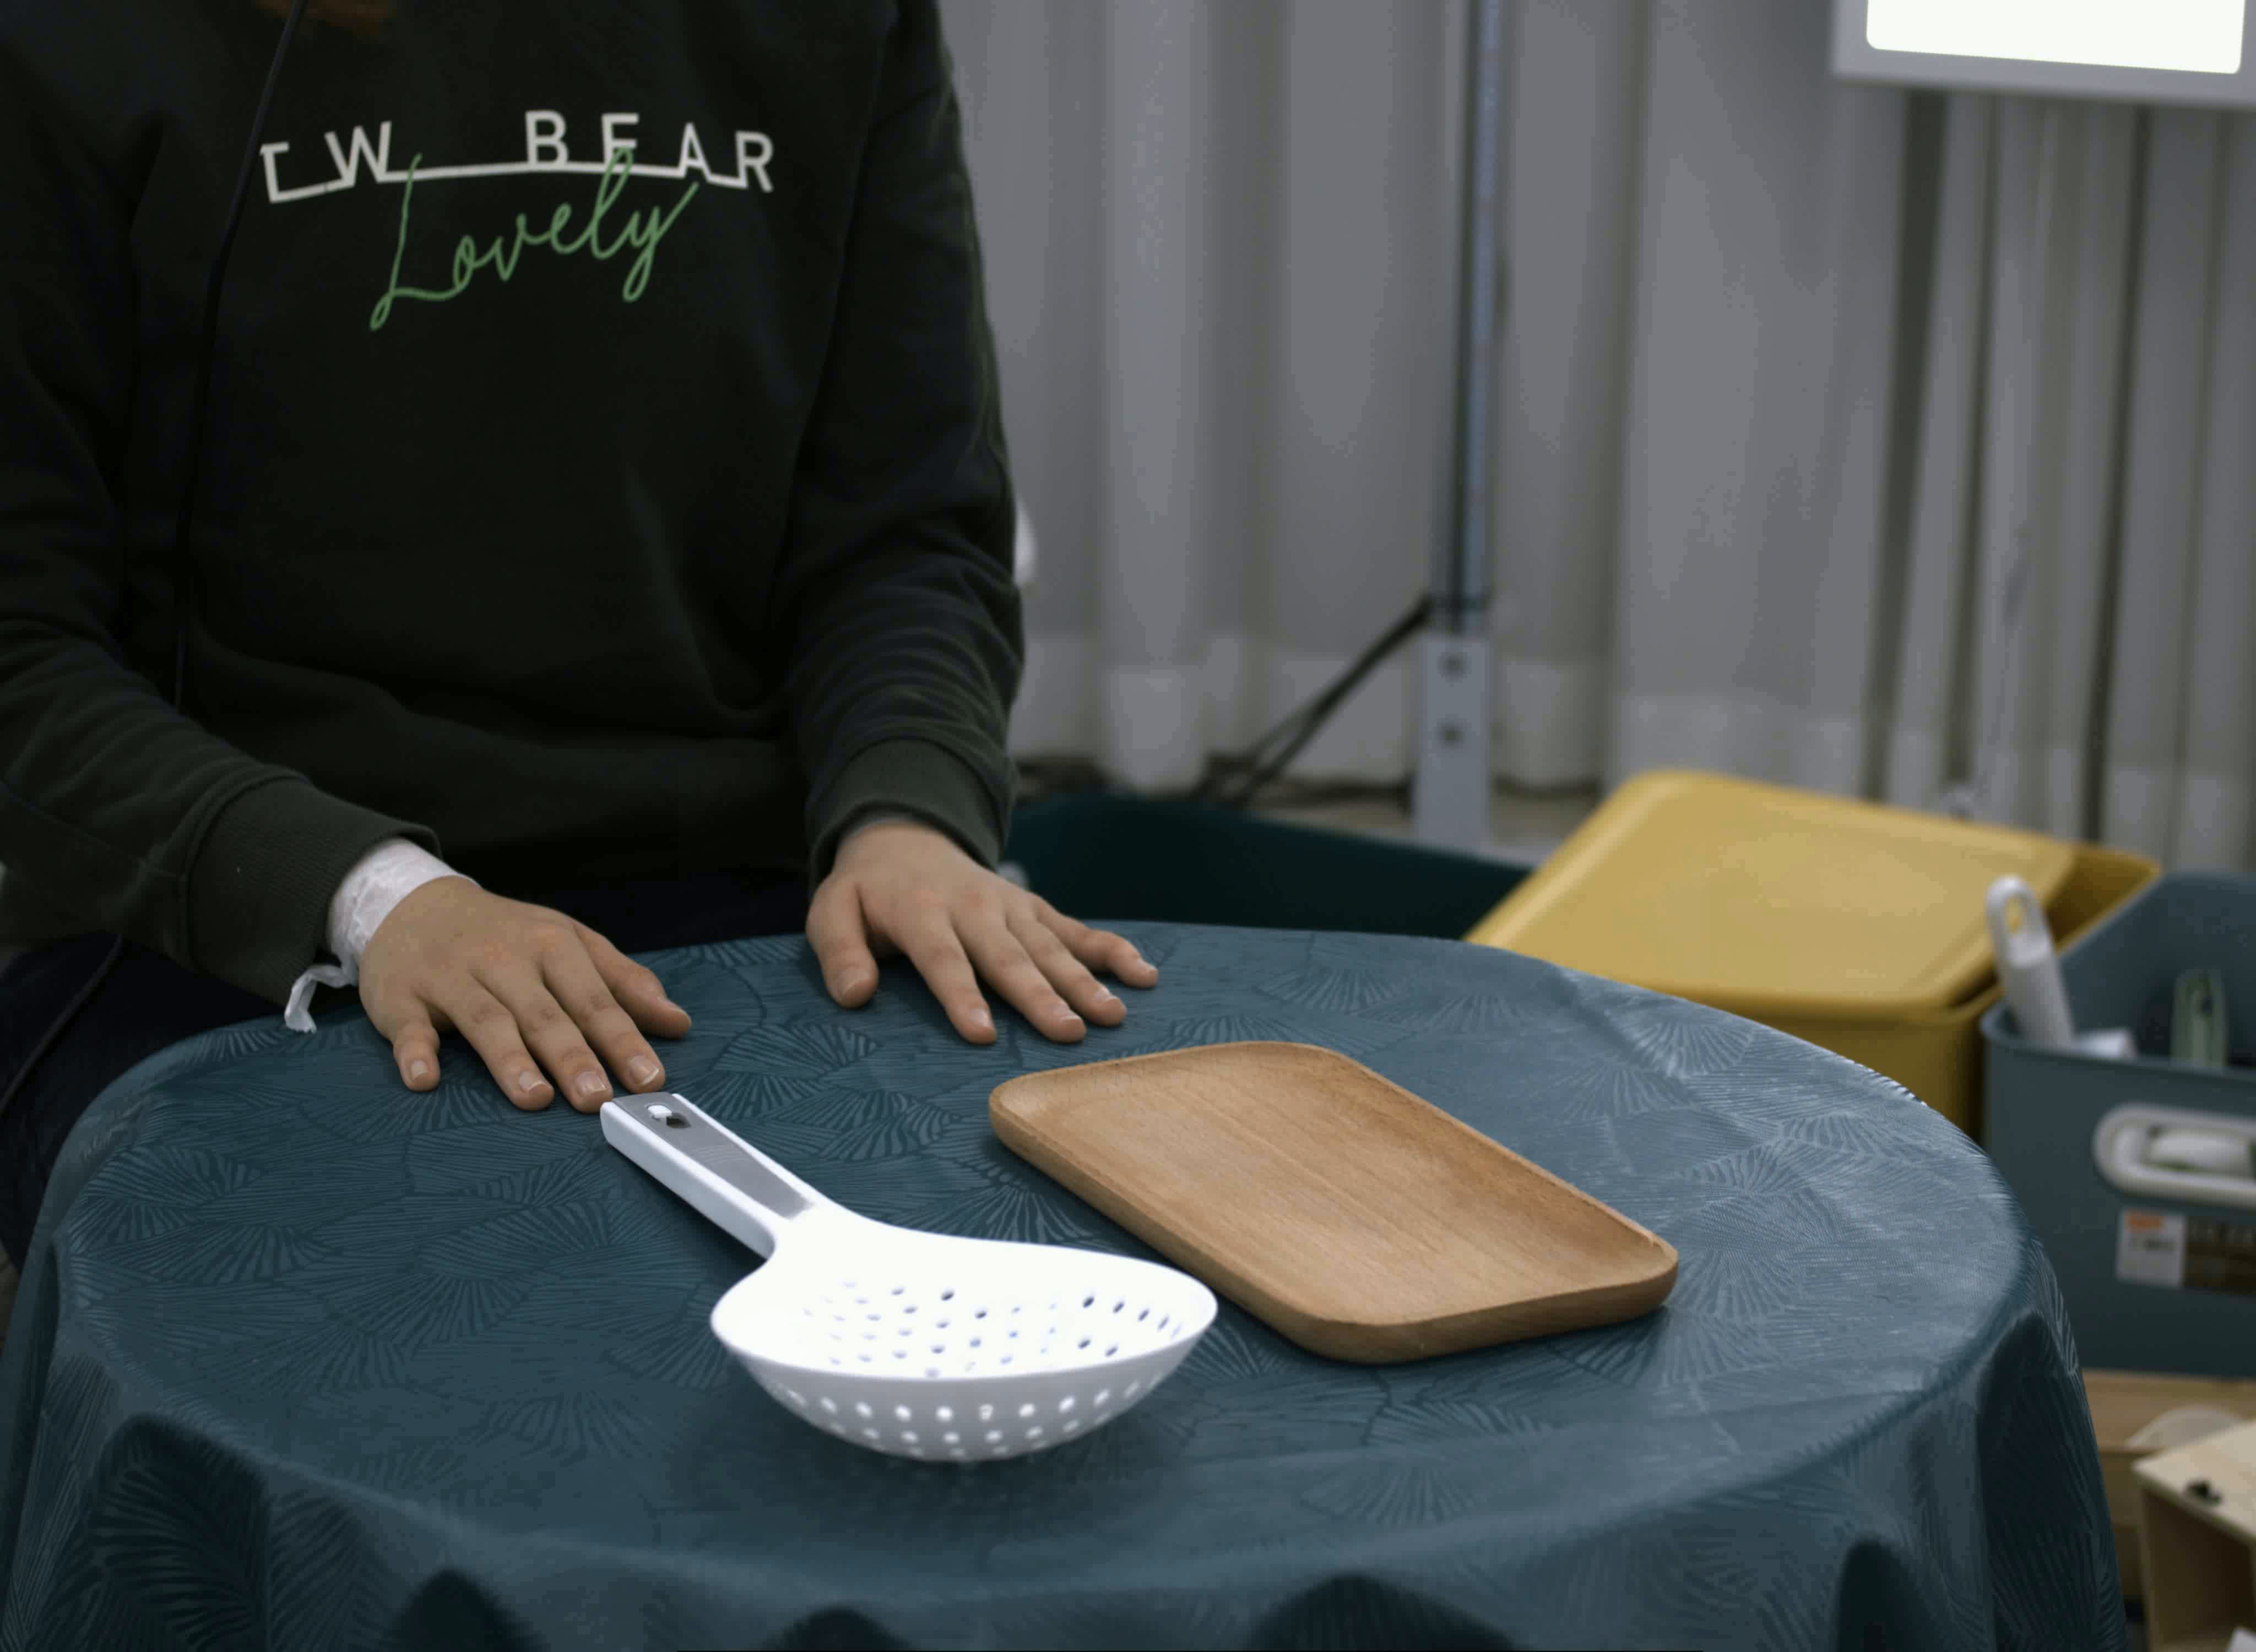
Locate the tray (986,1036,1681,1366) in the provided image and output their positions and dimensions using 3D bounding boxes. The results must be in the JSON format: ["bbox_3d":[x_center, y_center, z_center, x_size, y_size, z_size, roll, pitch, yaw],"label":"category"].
[{"bbox_3d":[0.058,0.111,1.603,0.131,0.023,0.247,-5,16,-26],"label":"tray"}]

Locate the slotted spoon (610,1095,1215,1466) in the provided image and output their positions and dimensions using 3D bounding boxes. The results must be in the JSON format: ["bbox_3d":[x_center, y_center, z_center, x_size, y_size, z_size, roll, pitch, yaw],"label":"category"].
[{"bbox_3d":[-0.086,0.121,1.511,0.136,0.046,0.345,-4,15,-23],"label":"slotted spoon"}]
